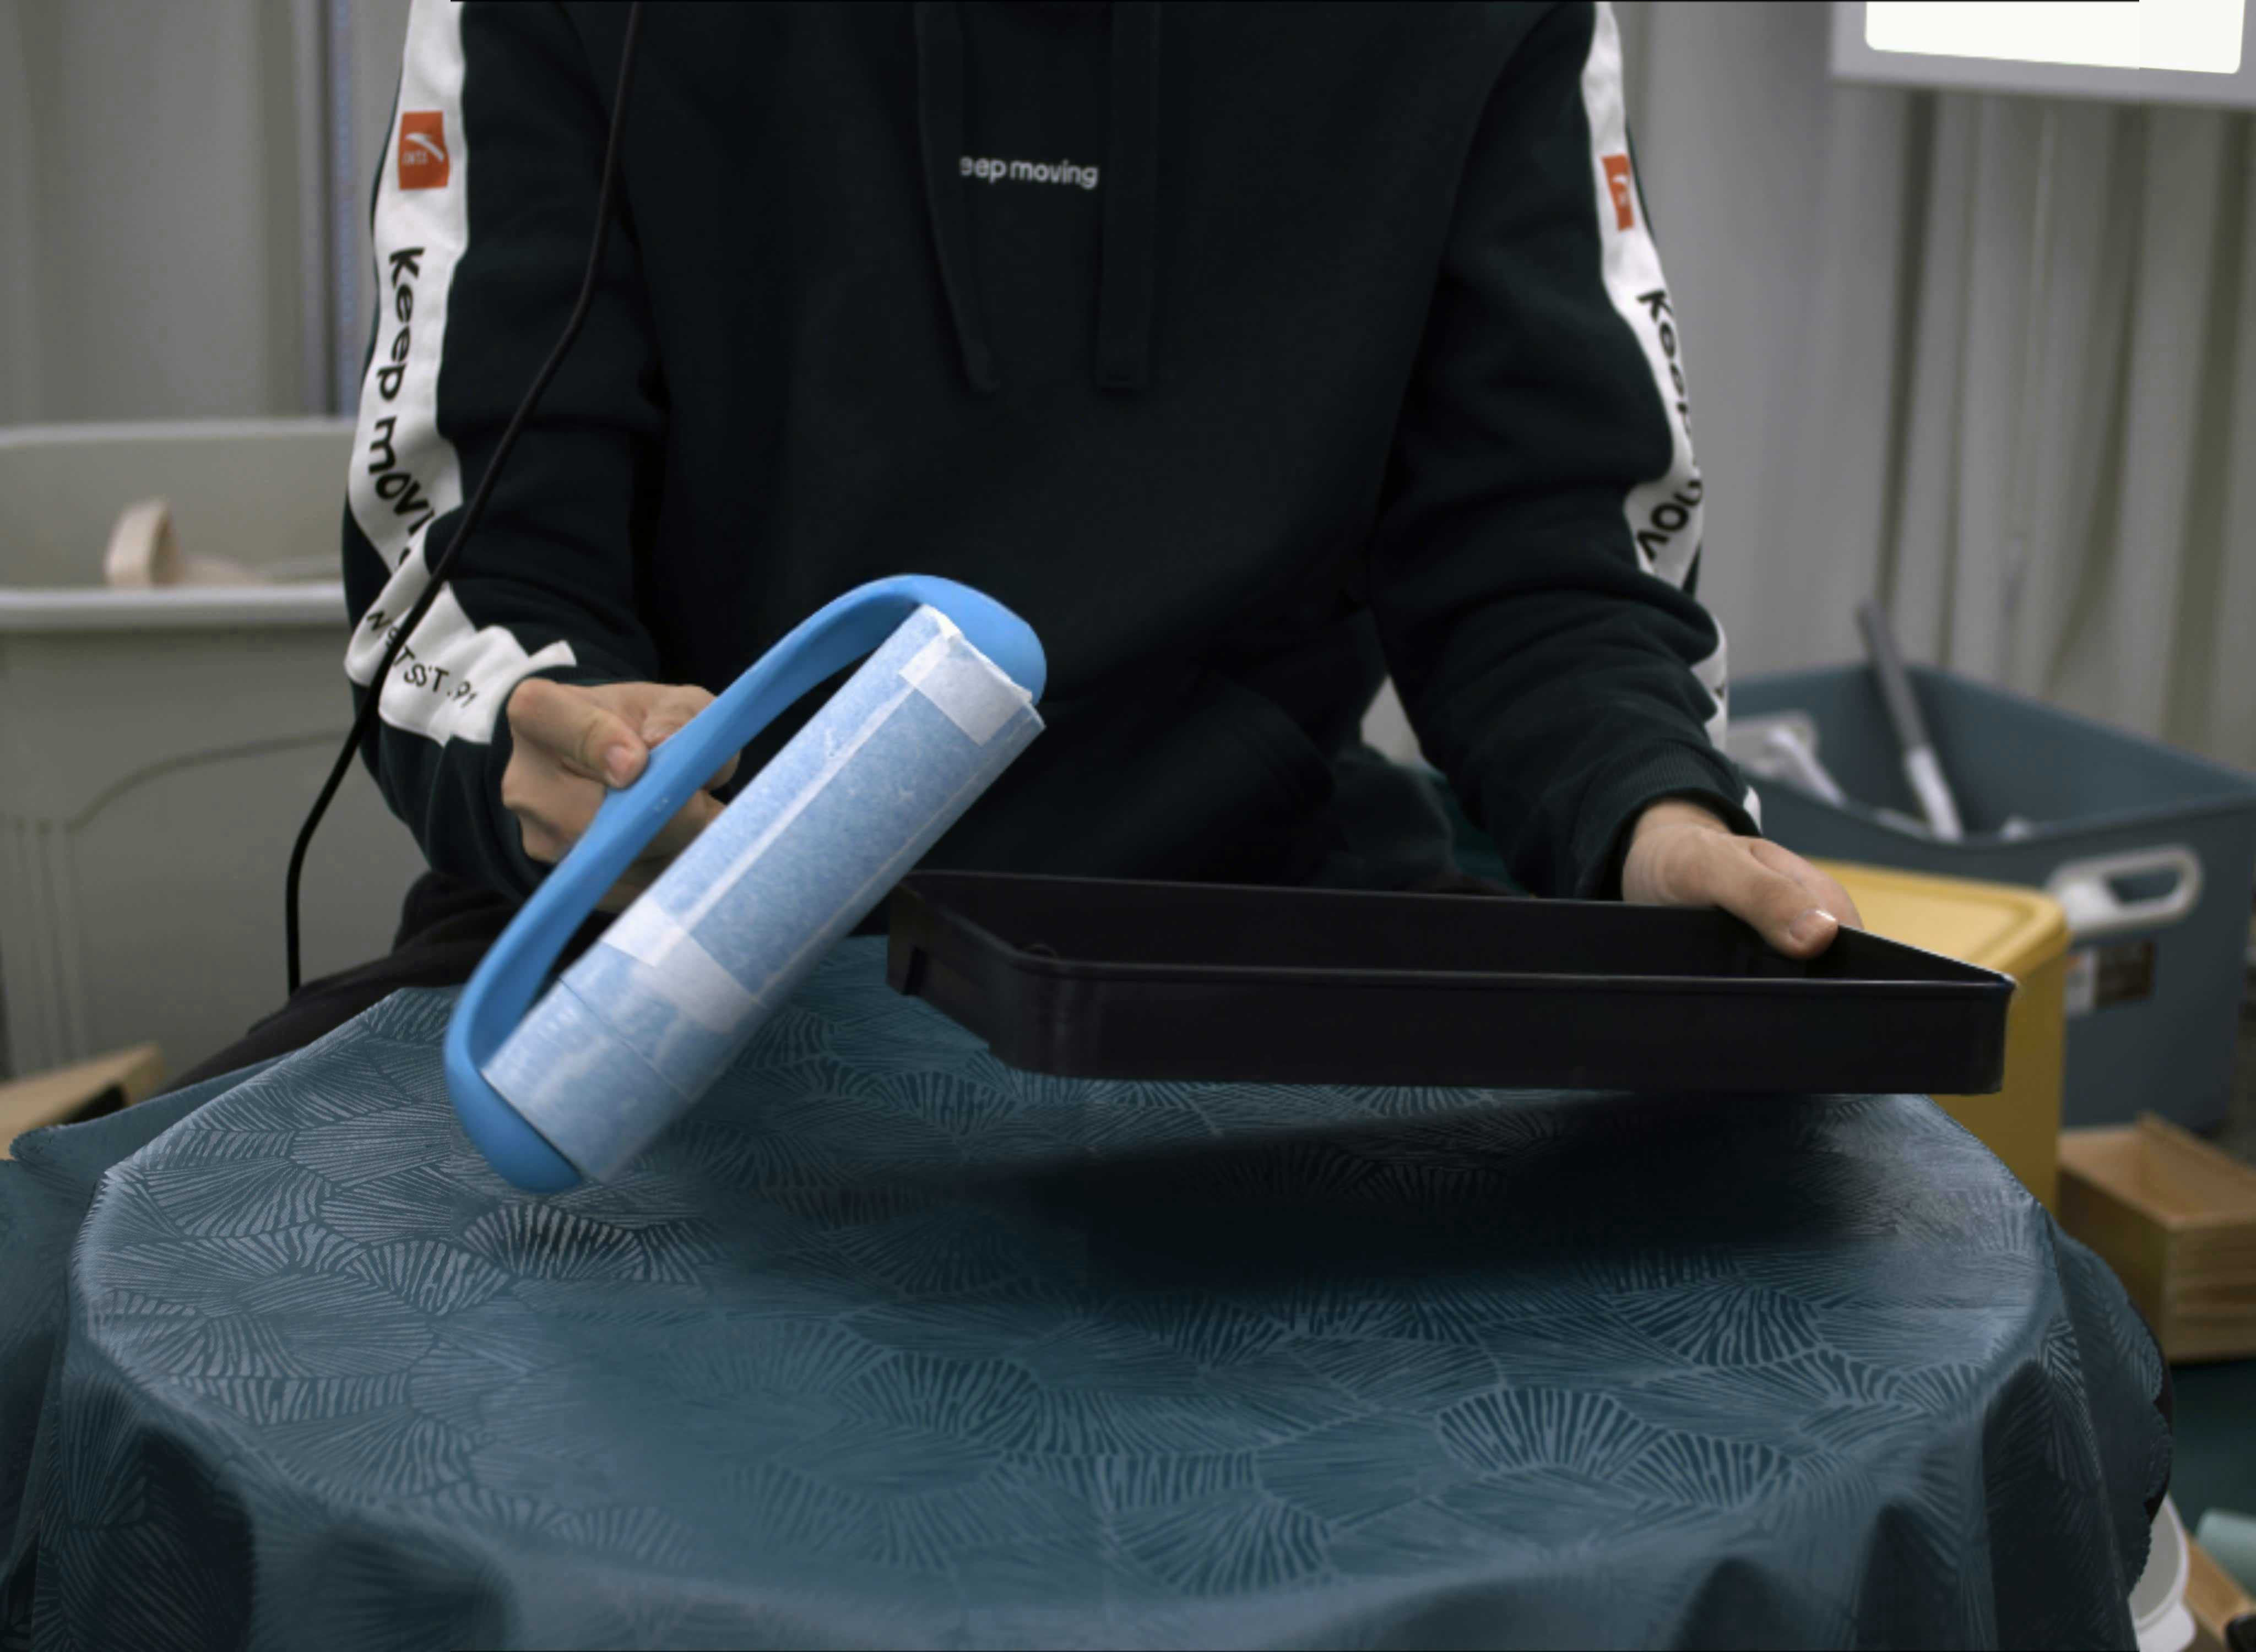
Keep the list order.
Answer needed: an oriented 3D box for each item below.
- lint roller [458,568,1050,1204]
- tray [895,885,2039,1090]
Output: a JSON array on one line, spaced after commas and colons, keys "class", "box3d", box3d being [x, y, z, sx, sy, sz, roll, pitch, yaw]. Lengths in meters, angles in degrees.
[{"class": "lint roller", "box3d": [-0.131, 0.008, 1.622, 0.068, 0.229, 0.178, 43, -7, -26]}, {"class": "tray", "box3d": [0.100, 0.049, 1.602, 0.319, 0.037, 0.183, 1, 6, -20]}]
